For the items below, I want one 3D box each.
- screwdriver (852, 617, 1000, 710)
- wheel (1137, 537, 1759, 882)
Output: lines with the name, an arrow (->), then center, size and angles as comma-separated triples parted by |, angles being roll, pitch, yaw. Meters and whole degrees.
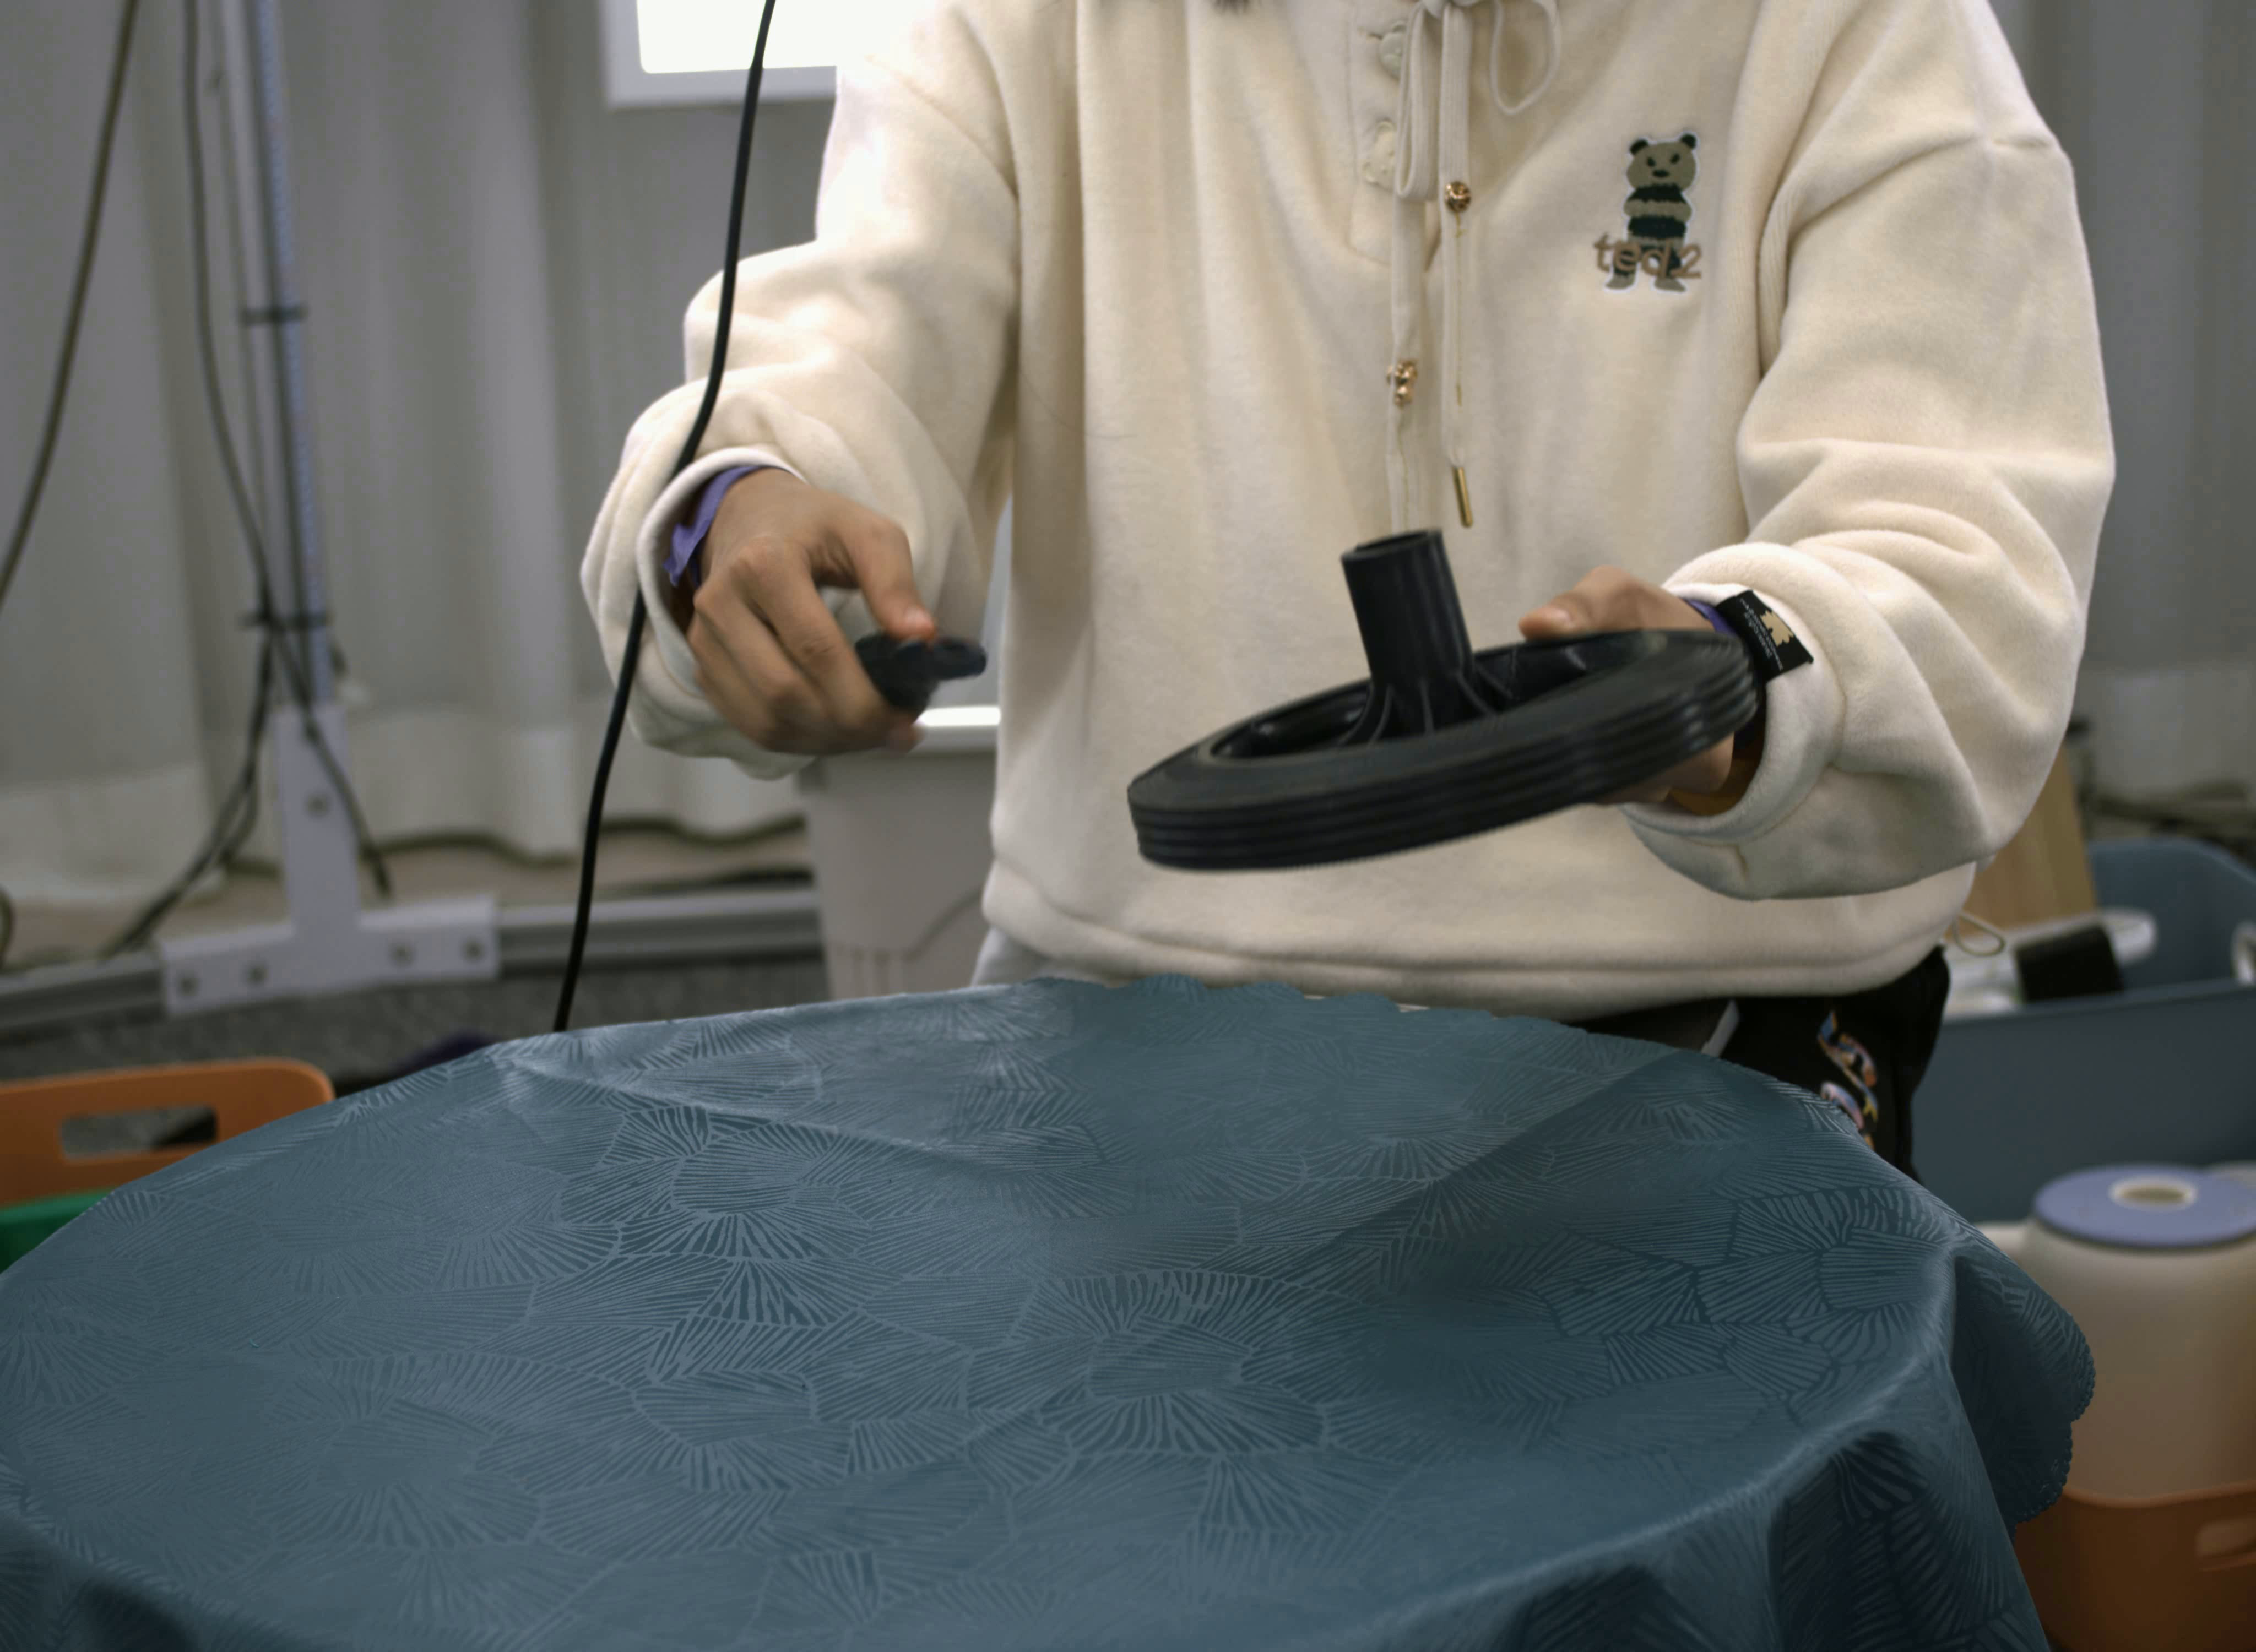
screwdriver -> -0.061, -0.055, 1.726 | 0.031, 0.031, 0.196 | -5, -1, -12
wheel -> 0.087, -0.042, 1.608 | 0.187, 0.079, 0.190 | -7, 13, 44
